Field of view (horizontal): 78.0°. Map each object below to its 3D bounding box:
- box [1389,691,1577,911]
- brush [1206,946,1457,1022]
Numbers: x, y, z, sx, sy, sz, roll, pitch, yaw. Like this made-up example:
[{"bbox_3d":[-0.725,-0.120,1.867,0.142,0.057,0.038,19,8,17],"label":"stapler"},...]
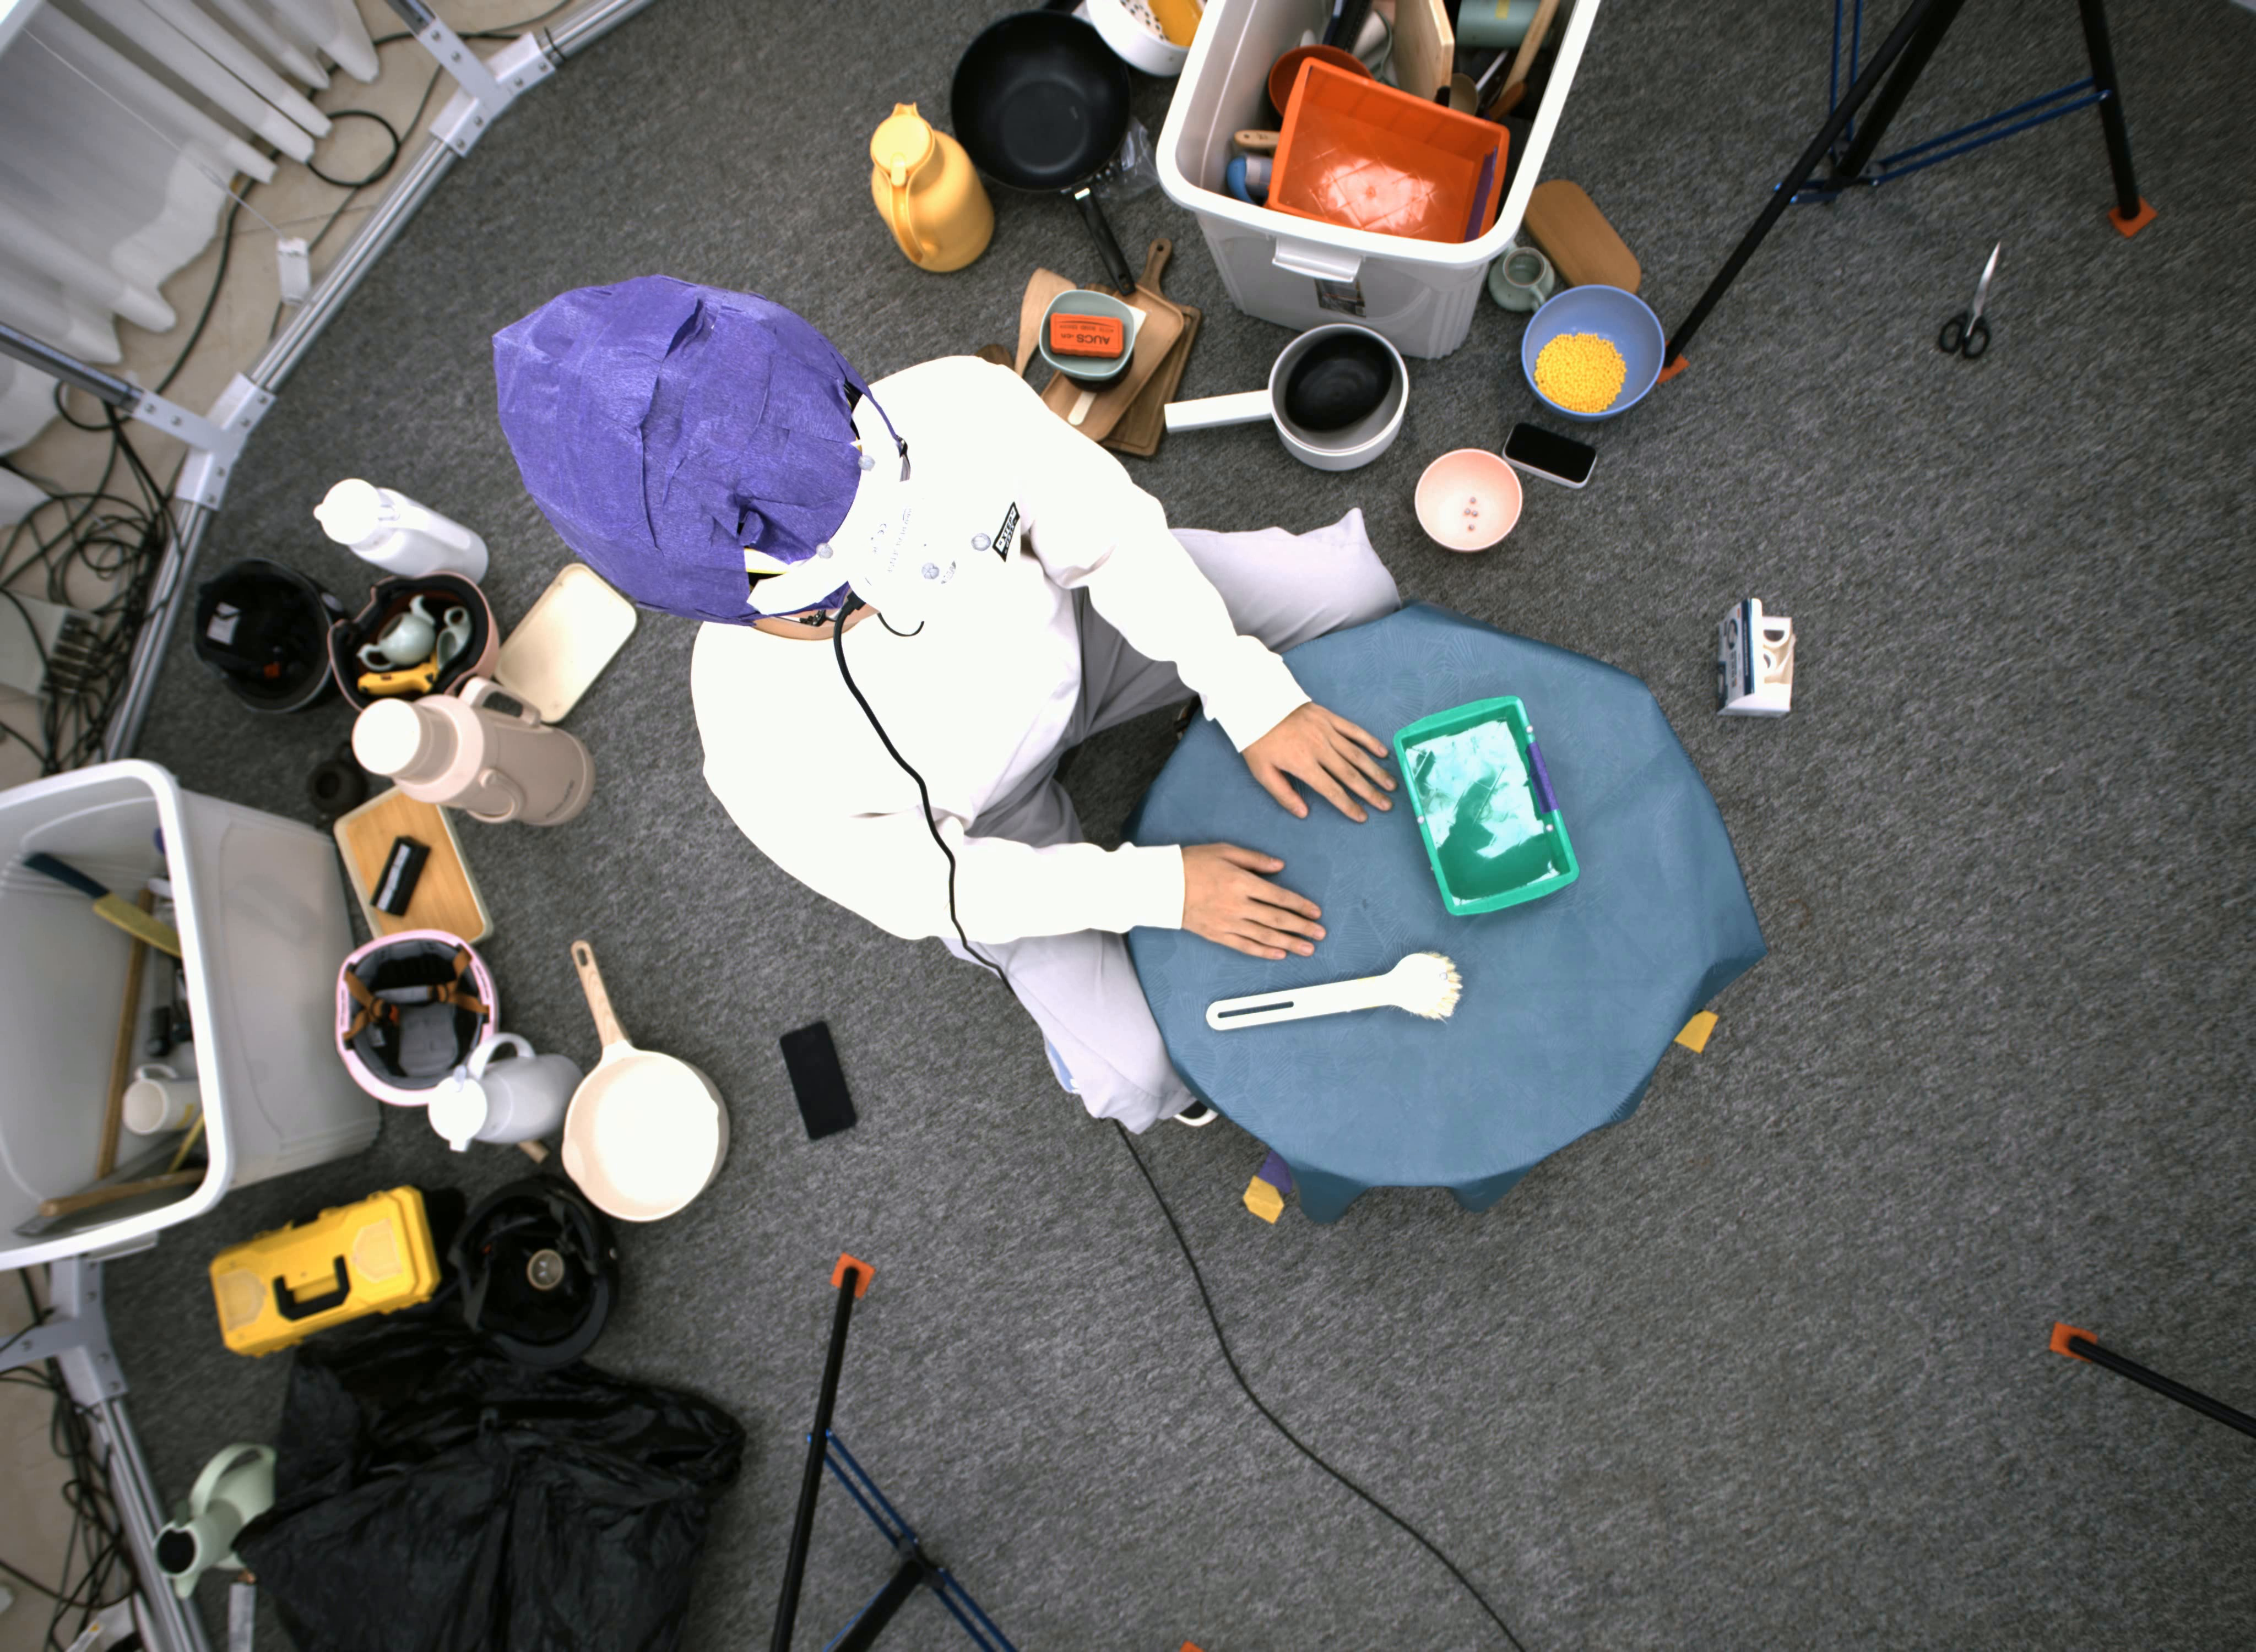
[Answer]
[{"bbox_3d":[0.363,-0.024,1.416,0.139,0.065,0.209,-18,81,9],"label":"box"},{"bbox_3d":[0.214,0.177,1.458,0.269,0.057,0.067,-15,59,24],"label":"brush"}]
